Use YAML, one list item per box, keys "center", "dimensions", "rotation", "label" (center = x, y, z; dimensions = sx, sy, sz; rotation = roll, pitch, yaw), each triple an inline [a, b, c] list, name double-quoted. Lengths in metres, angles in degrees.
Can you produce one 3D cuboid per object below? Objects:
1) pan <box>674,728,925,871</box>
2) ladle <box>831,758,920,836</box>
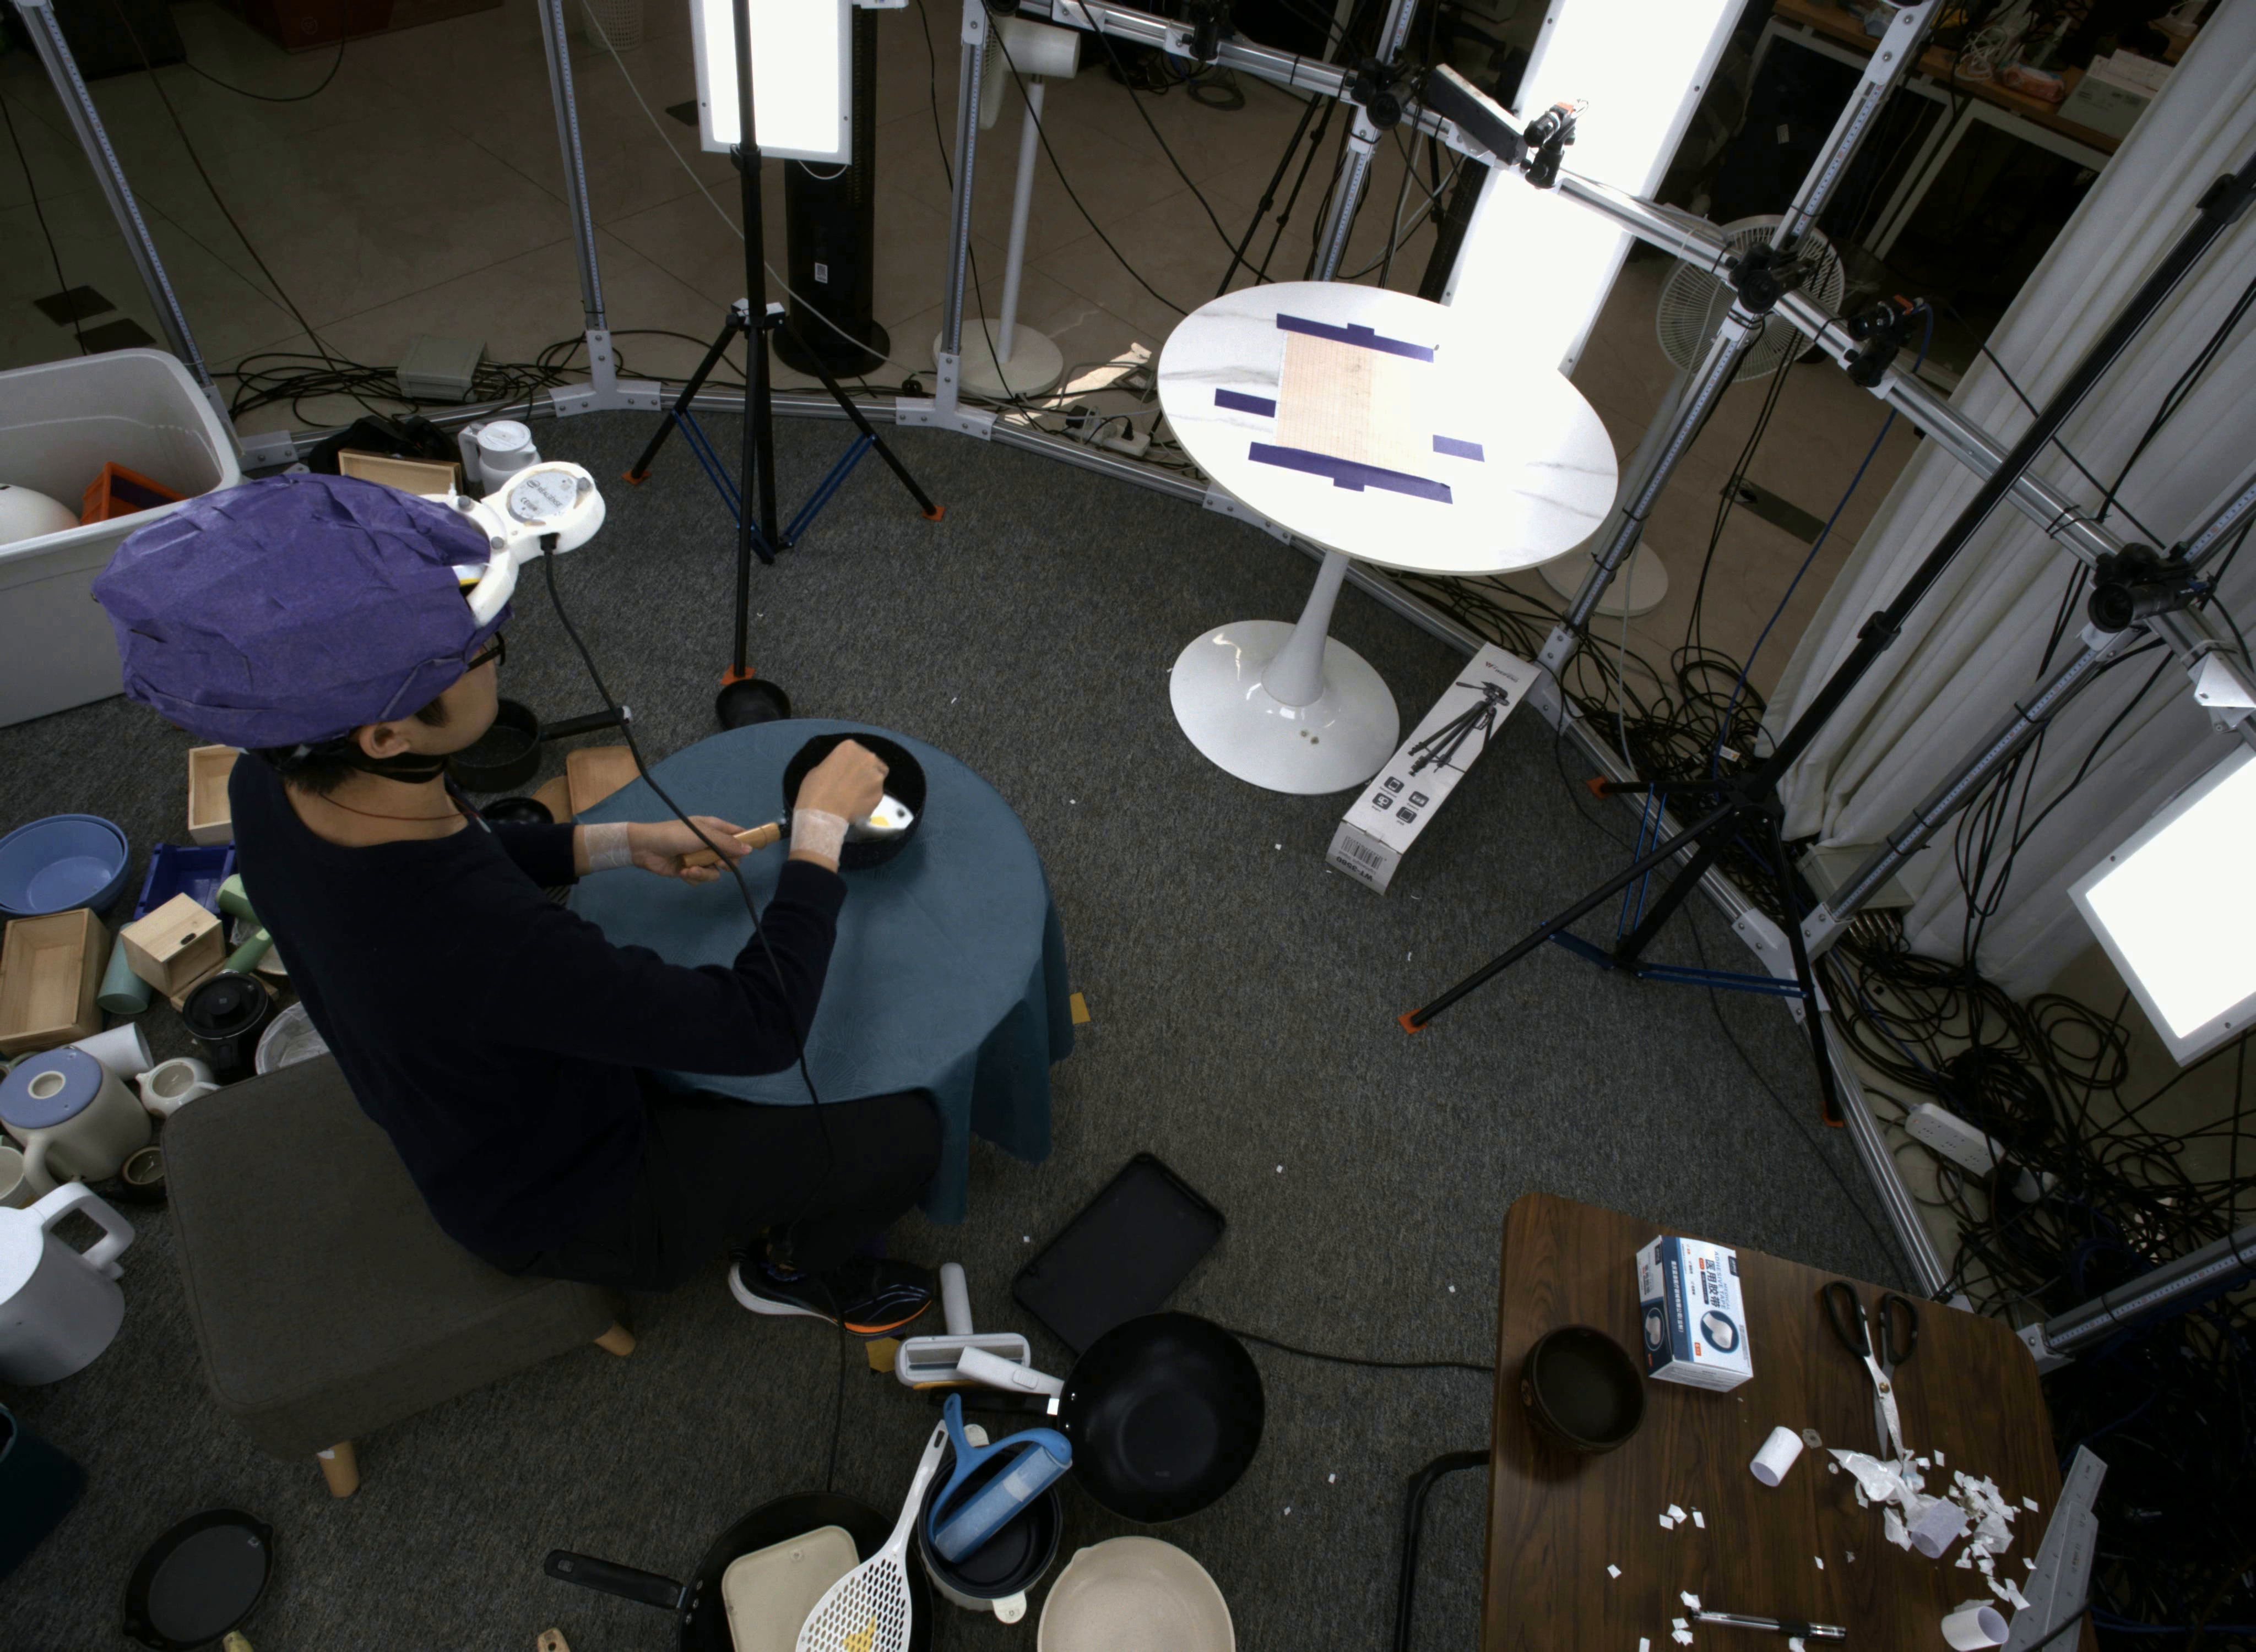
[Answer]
- center: [-0.415, -0.001, 1.646]
  dimensions: [0.344, 0.110, 0.203]
  rotation: [-31, 67, -34]
  label: "pan"
- center: [-0.307, -0.041, 1.564]
  dimensions: [0.089, 0.295, 0.070]
  rotation: [38, 78, 5]
  label: "ladle"
